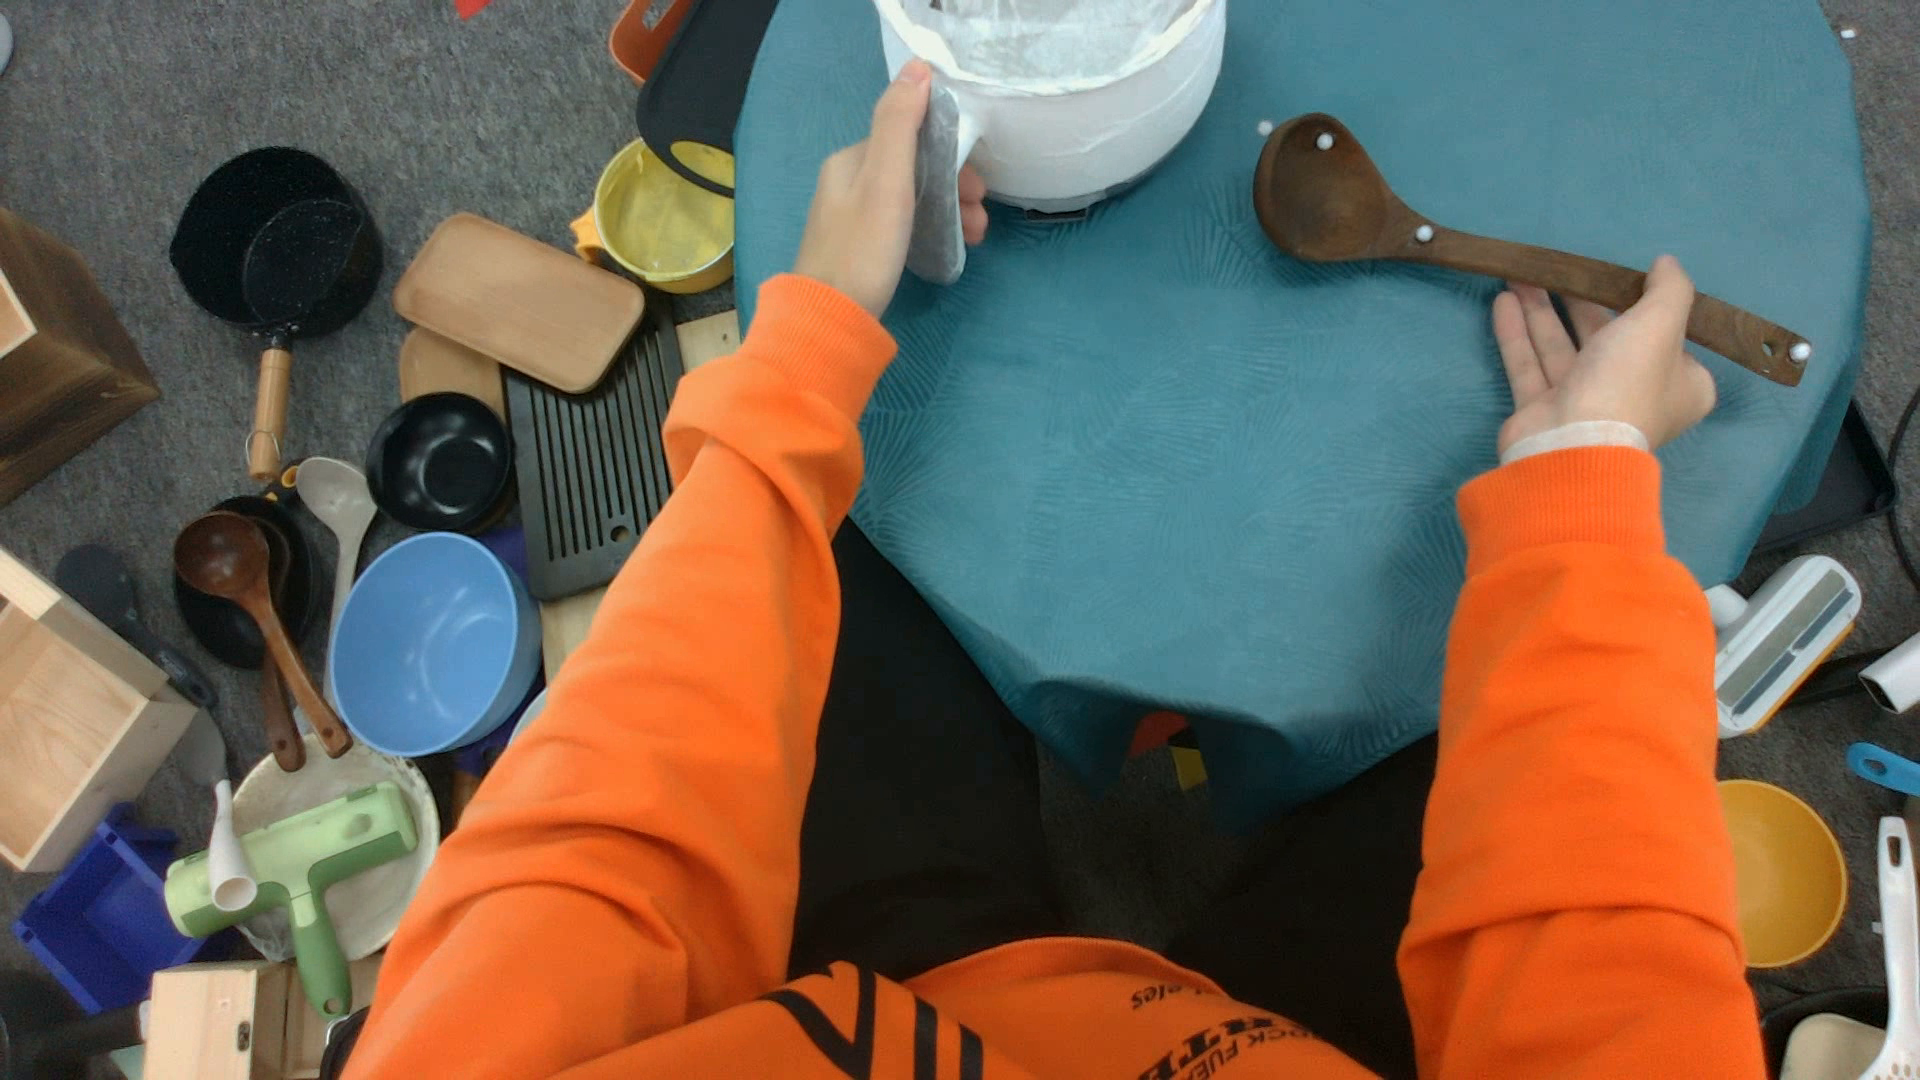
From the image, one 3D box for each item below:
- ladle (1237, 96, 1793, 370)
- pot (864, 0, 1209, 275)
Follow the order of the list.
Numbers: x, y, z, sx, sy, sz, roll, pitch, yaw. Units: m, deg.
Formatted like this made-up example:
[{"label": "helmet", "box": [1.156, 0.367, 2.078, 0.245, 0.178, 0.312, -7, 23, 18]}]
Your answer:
[{"label": "ladle", "box": [0.269, -0.149, 0.674, 0.274, 0.071, 0.076, 23, 81, 21]}, {"label": "pot", "box": [0.027, -0.251, 0.698, 0.178, 0.136, 0.234, 26, 80, 11]}]
